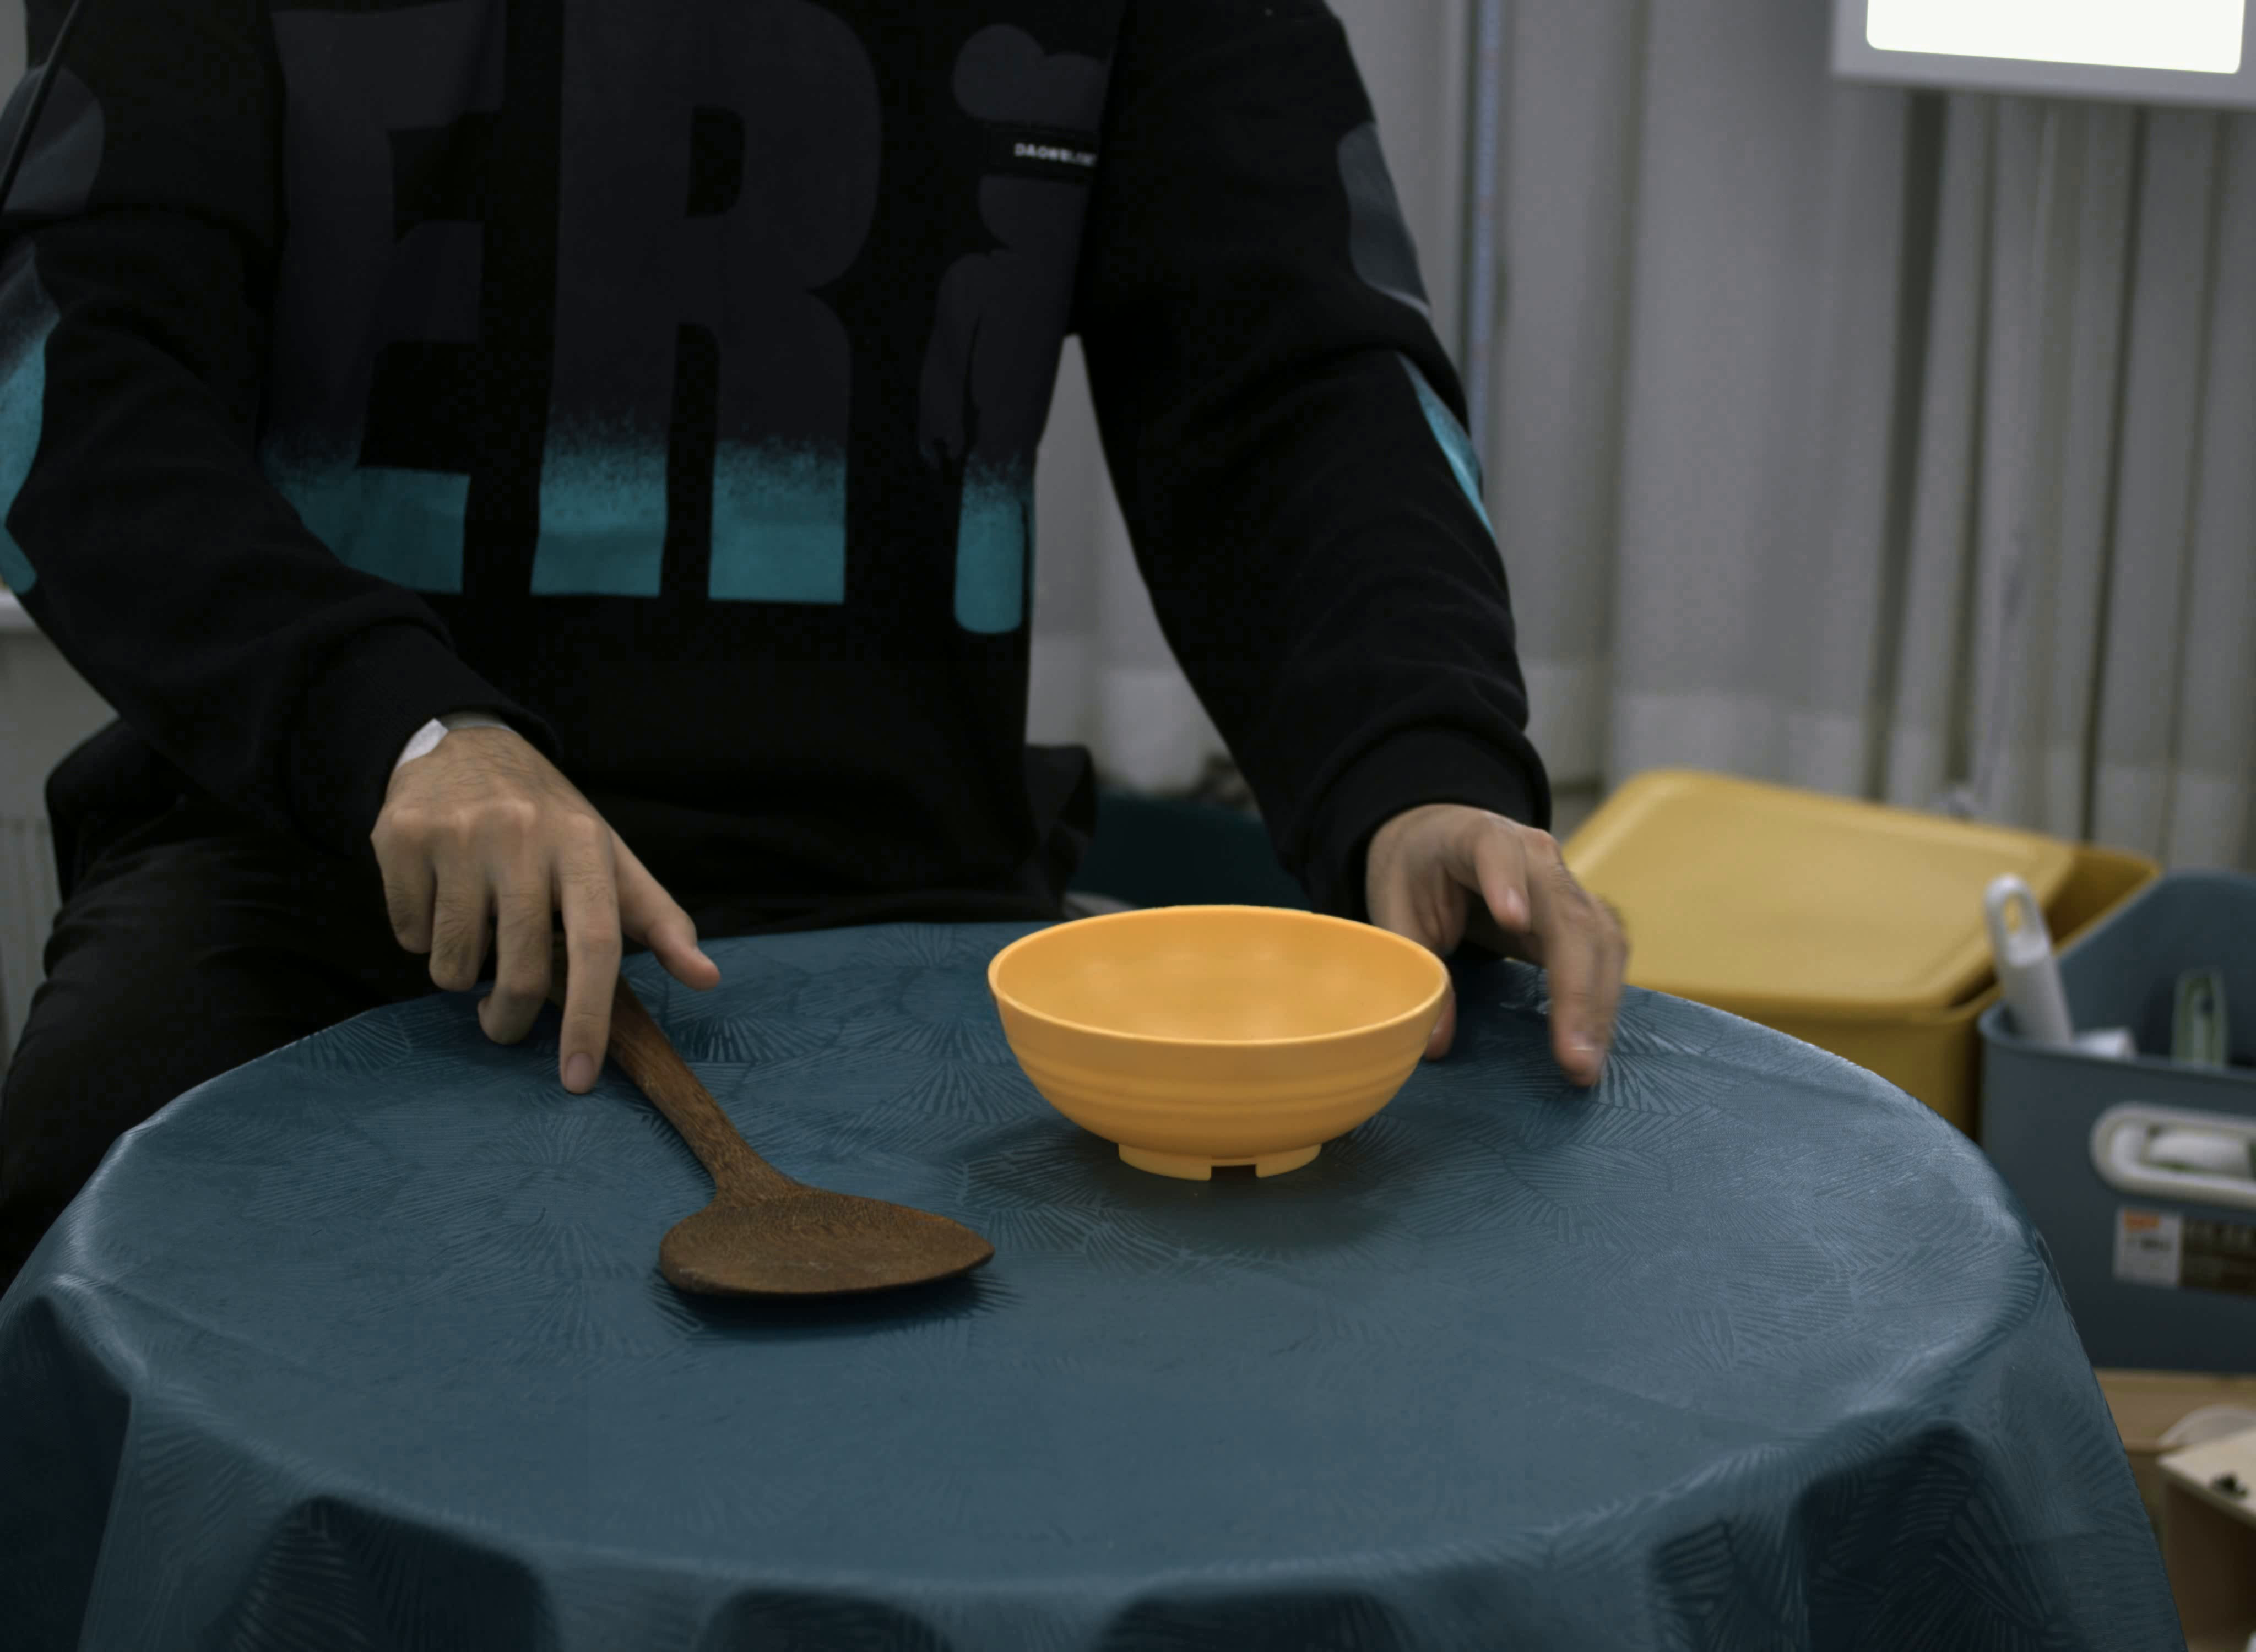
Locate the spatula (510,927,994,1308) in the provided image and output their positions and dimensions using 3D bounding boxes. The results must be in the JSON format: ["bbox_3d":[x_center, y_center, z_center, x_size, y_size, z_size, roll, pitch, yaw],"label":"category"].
[{"bbox_3d":[-0.142,0.087,1.681,0.096,0.016,0.381,-4,17,-20],"label":"spatula"}]

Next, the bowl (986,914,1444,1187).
[{"bbox_3d":[0.026,0.075,1.658,0.145,0.060,0.144,3,15,0],"label":"bowl"}]
